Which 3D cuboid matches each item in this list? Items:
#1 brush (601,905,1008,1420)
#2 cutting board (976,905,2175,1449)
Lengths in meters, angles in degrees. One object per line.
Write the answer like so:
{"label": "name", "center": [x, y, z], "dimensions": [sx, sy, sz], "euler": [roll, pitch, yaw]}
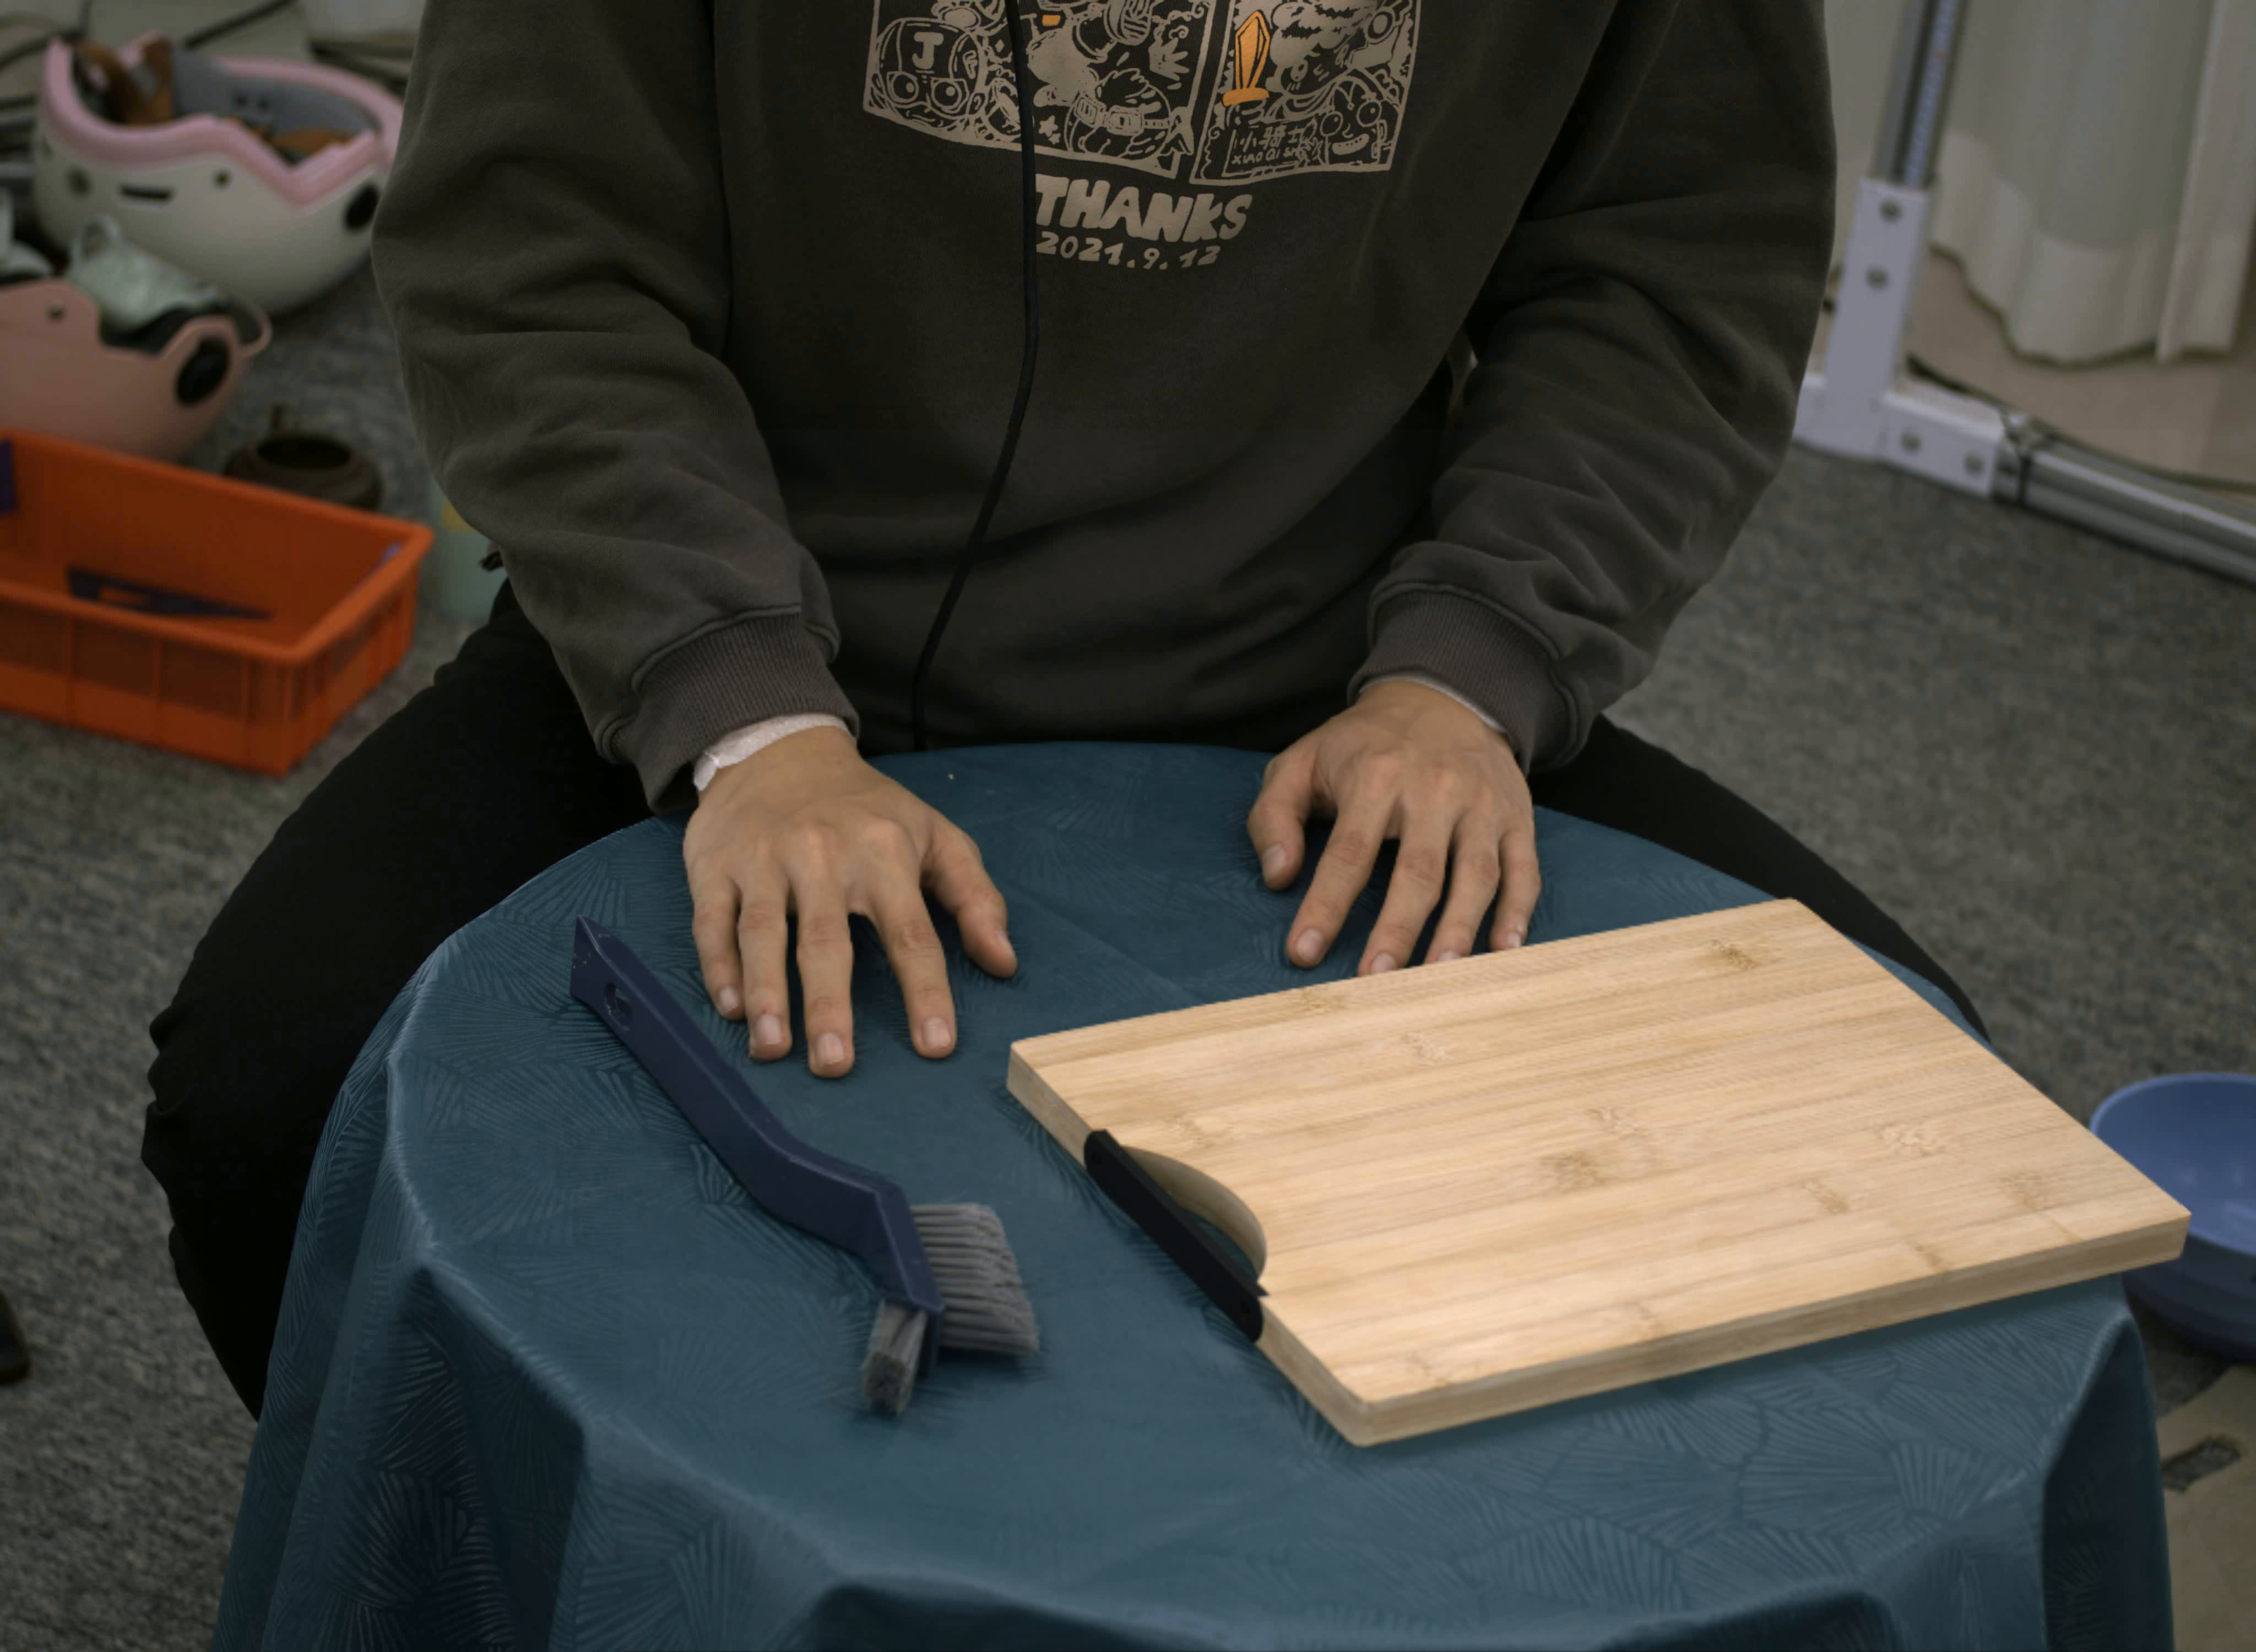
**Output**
{"label": "brush", "center": [-0.128, 0.107, 1.773], "dimensions": [0.095, 0.033, 0.275], "euler": [-13, 34, -35]}
{"label": "cutting board", "center": [0.155, 0.114, 1.840], "dimensions": [0.346, 0.023, 0.253], "euler": [-9, 30, -29]}
